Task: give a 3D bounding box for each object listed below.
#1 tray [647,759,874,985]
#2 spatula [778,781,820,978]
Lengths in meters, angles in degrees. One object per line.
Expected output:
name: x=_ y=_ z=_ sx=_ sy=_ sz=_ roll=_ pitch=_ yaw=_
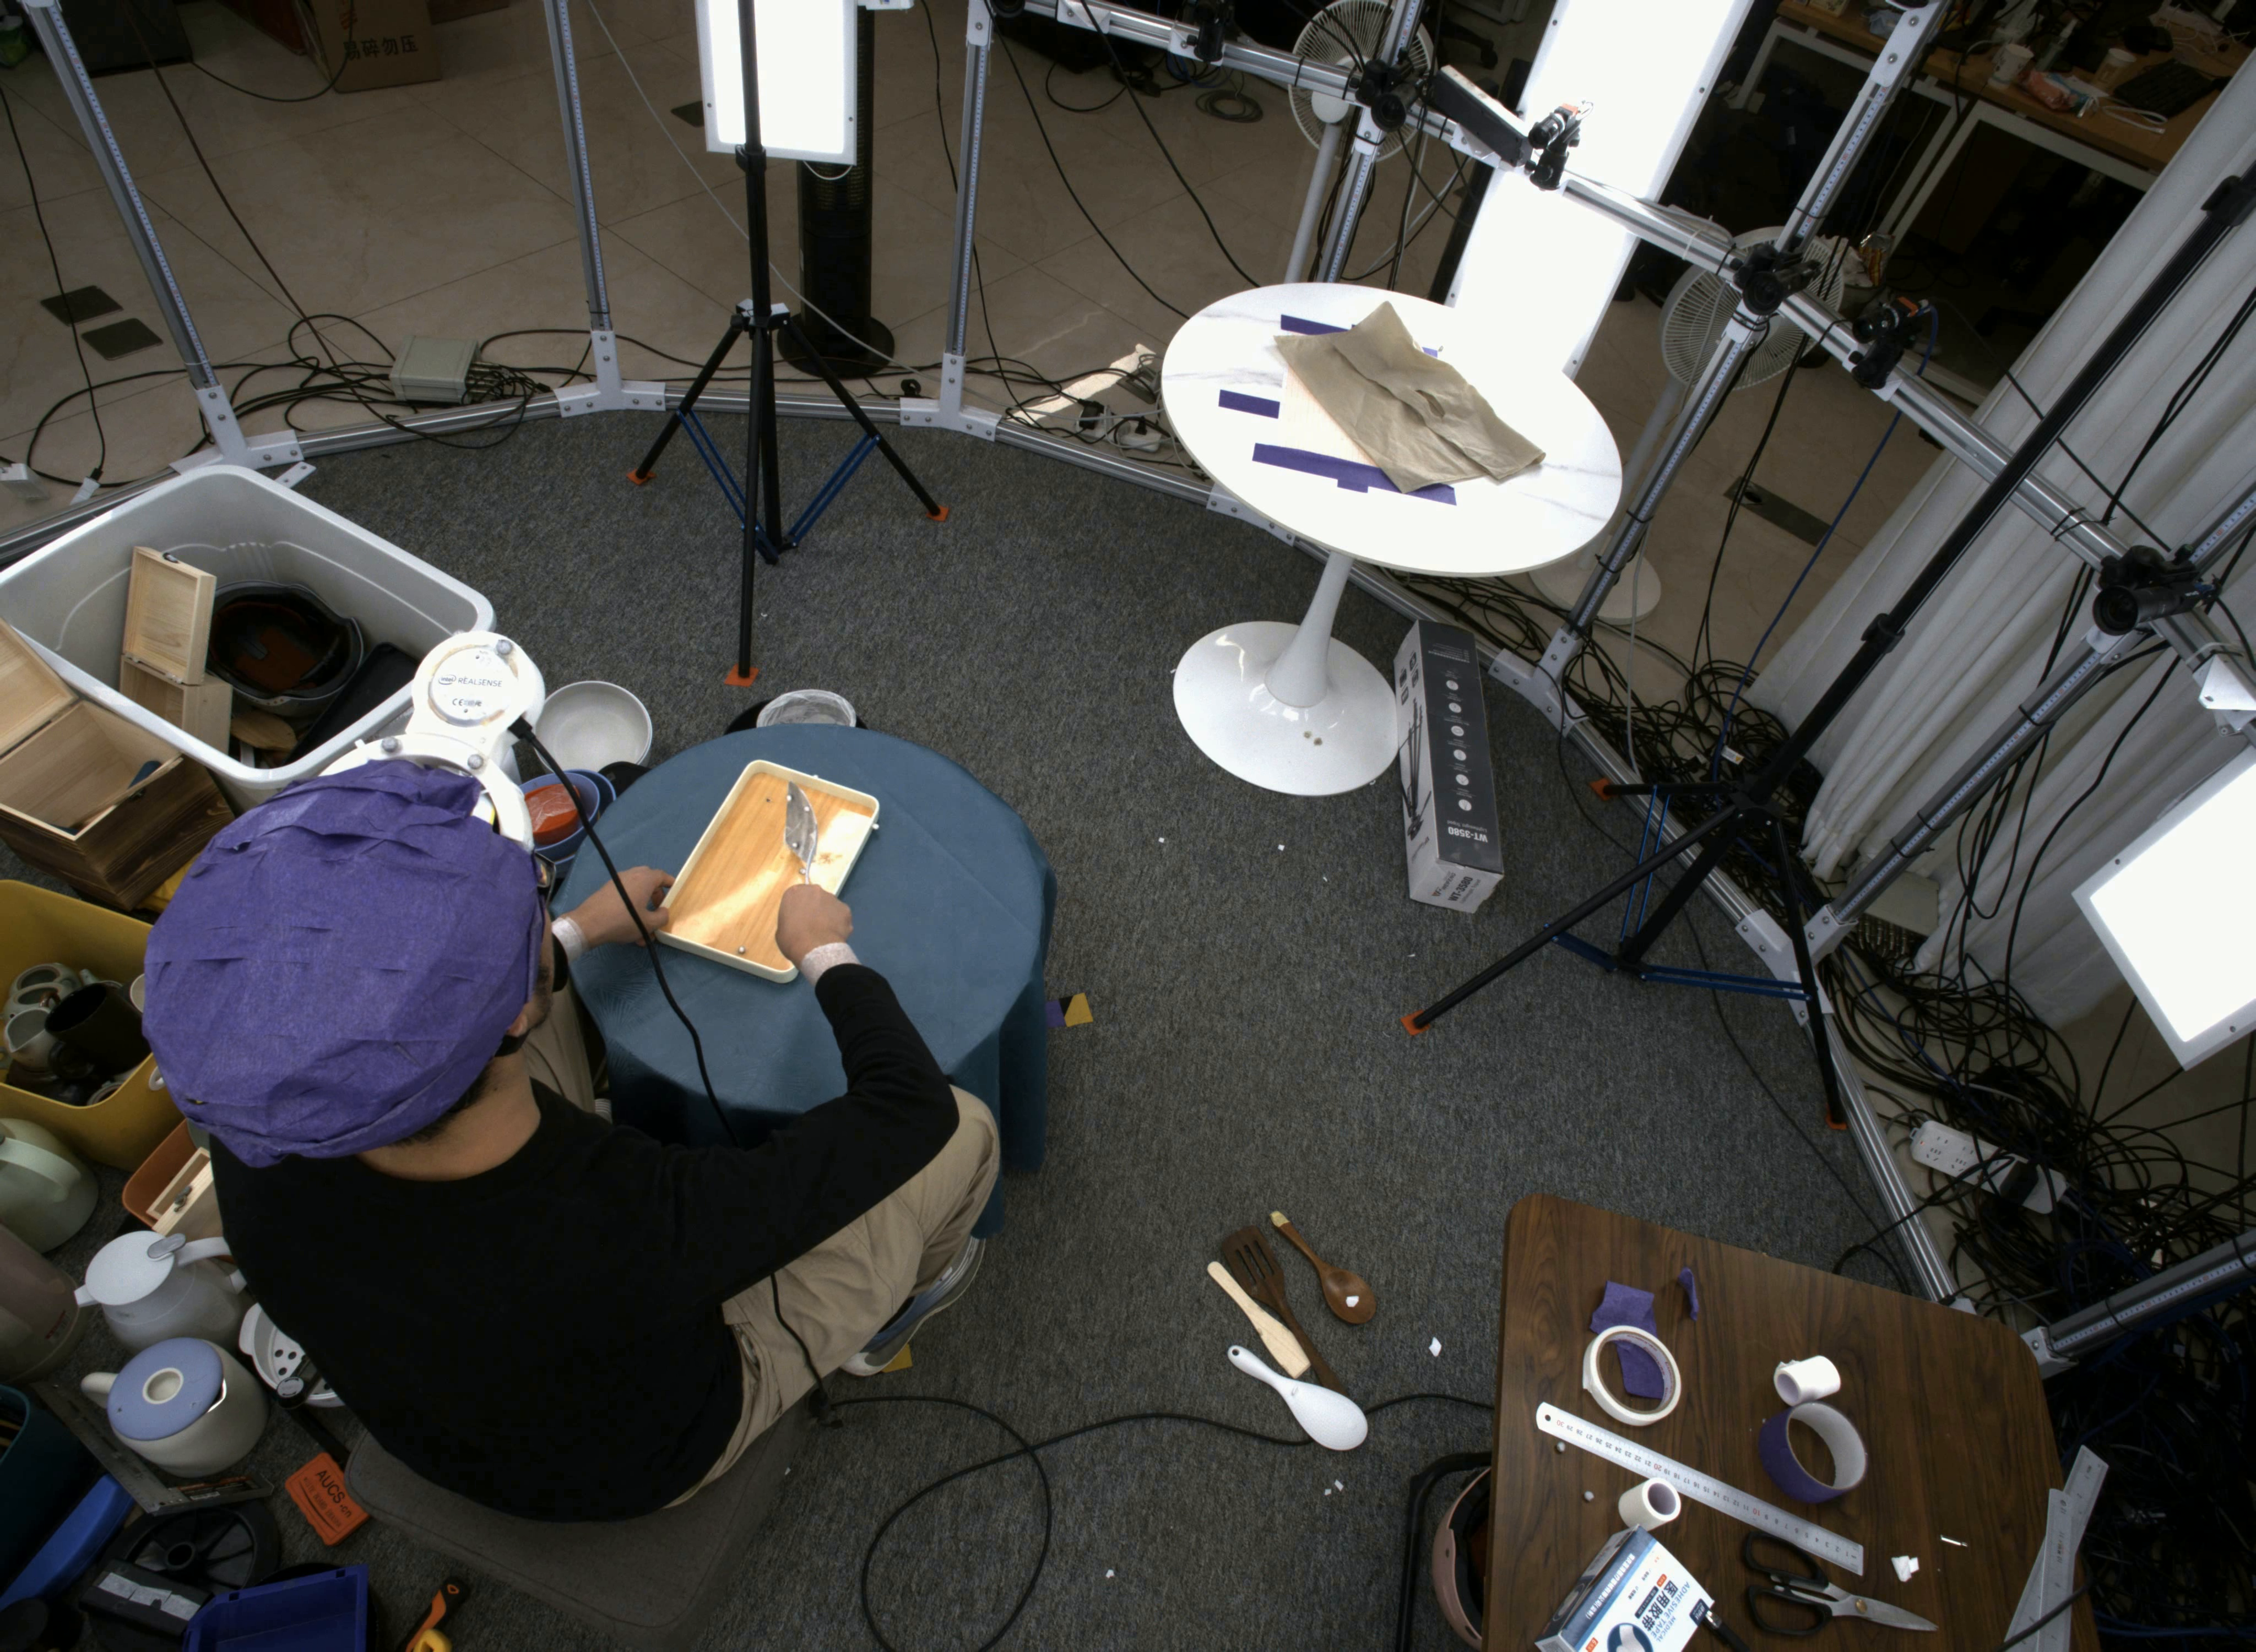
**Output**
tray: x=-0.463 y=0.051 z=1.653 sx=0.190 sy=0.028 sz=0.297 roll=19 pitch=52 yaw=0
spatula: x=-0.392 y=0.065 z=1.536 sx=0.045 sy=0.101 sz=0.354 roll=3 pitch=29 yaw=-17
